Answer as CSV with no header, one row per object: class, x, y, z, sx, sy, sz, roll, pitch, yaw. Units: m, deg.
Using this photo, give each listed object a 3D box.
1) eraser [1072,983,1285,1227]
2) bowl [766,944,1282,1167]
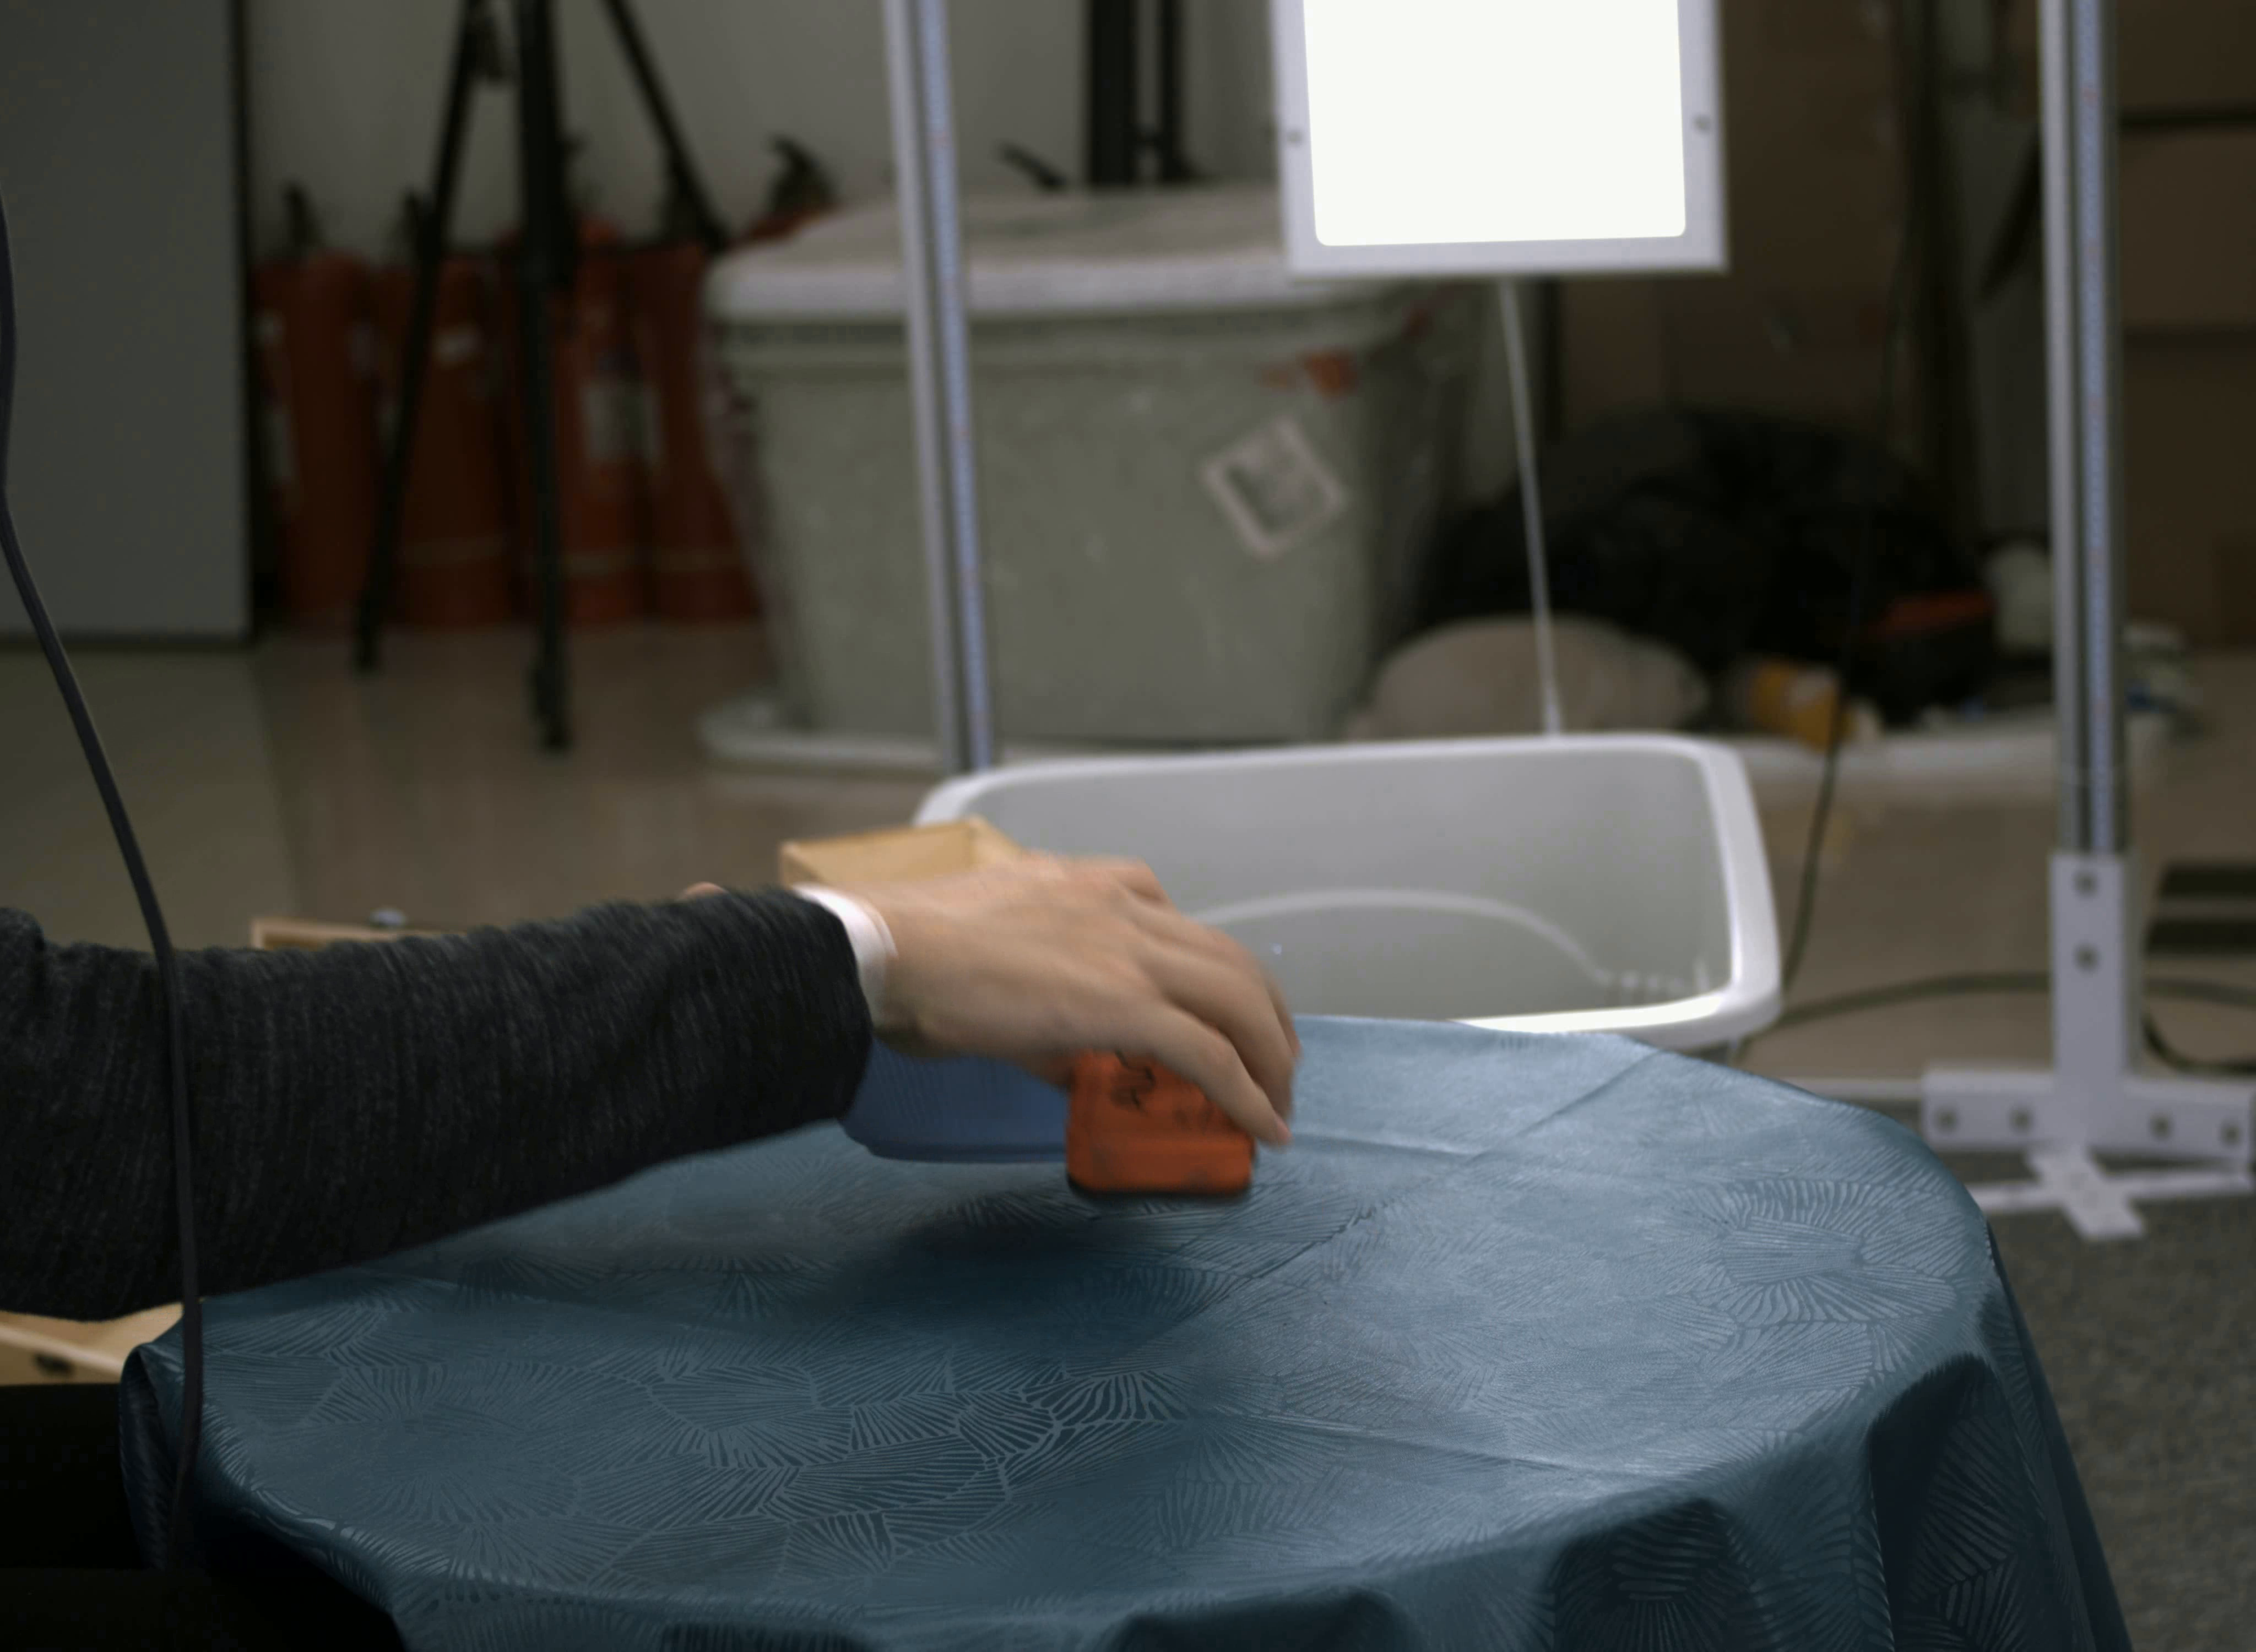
eraser,0.017,0.085,1.694,0.059,0.023,0.107,2,30,7
bowl,-0.034,0.077,1.864,0.175,0.070,0.176,-2,2,-1
